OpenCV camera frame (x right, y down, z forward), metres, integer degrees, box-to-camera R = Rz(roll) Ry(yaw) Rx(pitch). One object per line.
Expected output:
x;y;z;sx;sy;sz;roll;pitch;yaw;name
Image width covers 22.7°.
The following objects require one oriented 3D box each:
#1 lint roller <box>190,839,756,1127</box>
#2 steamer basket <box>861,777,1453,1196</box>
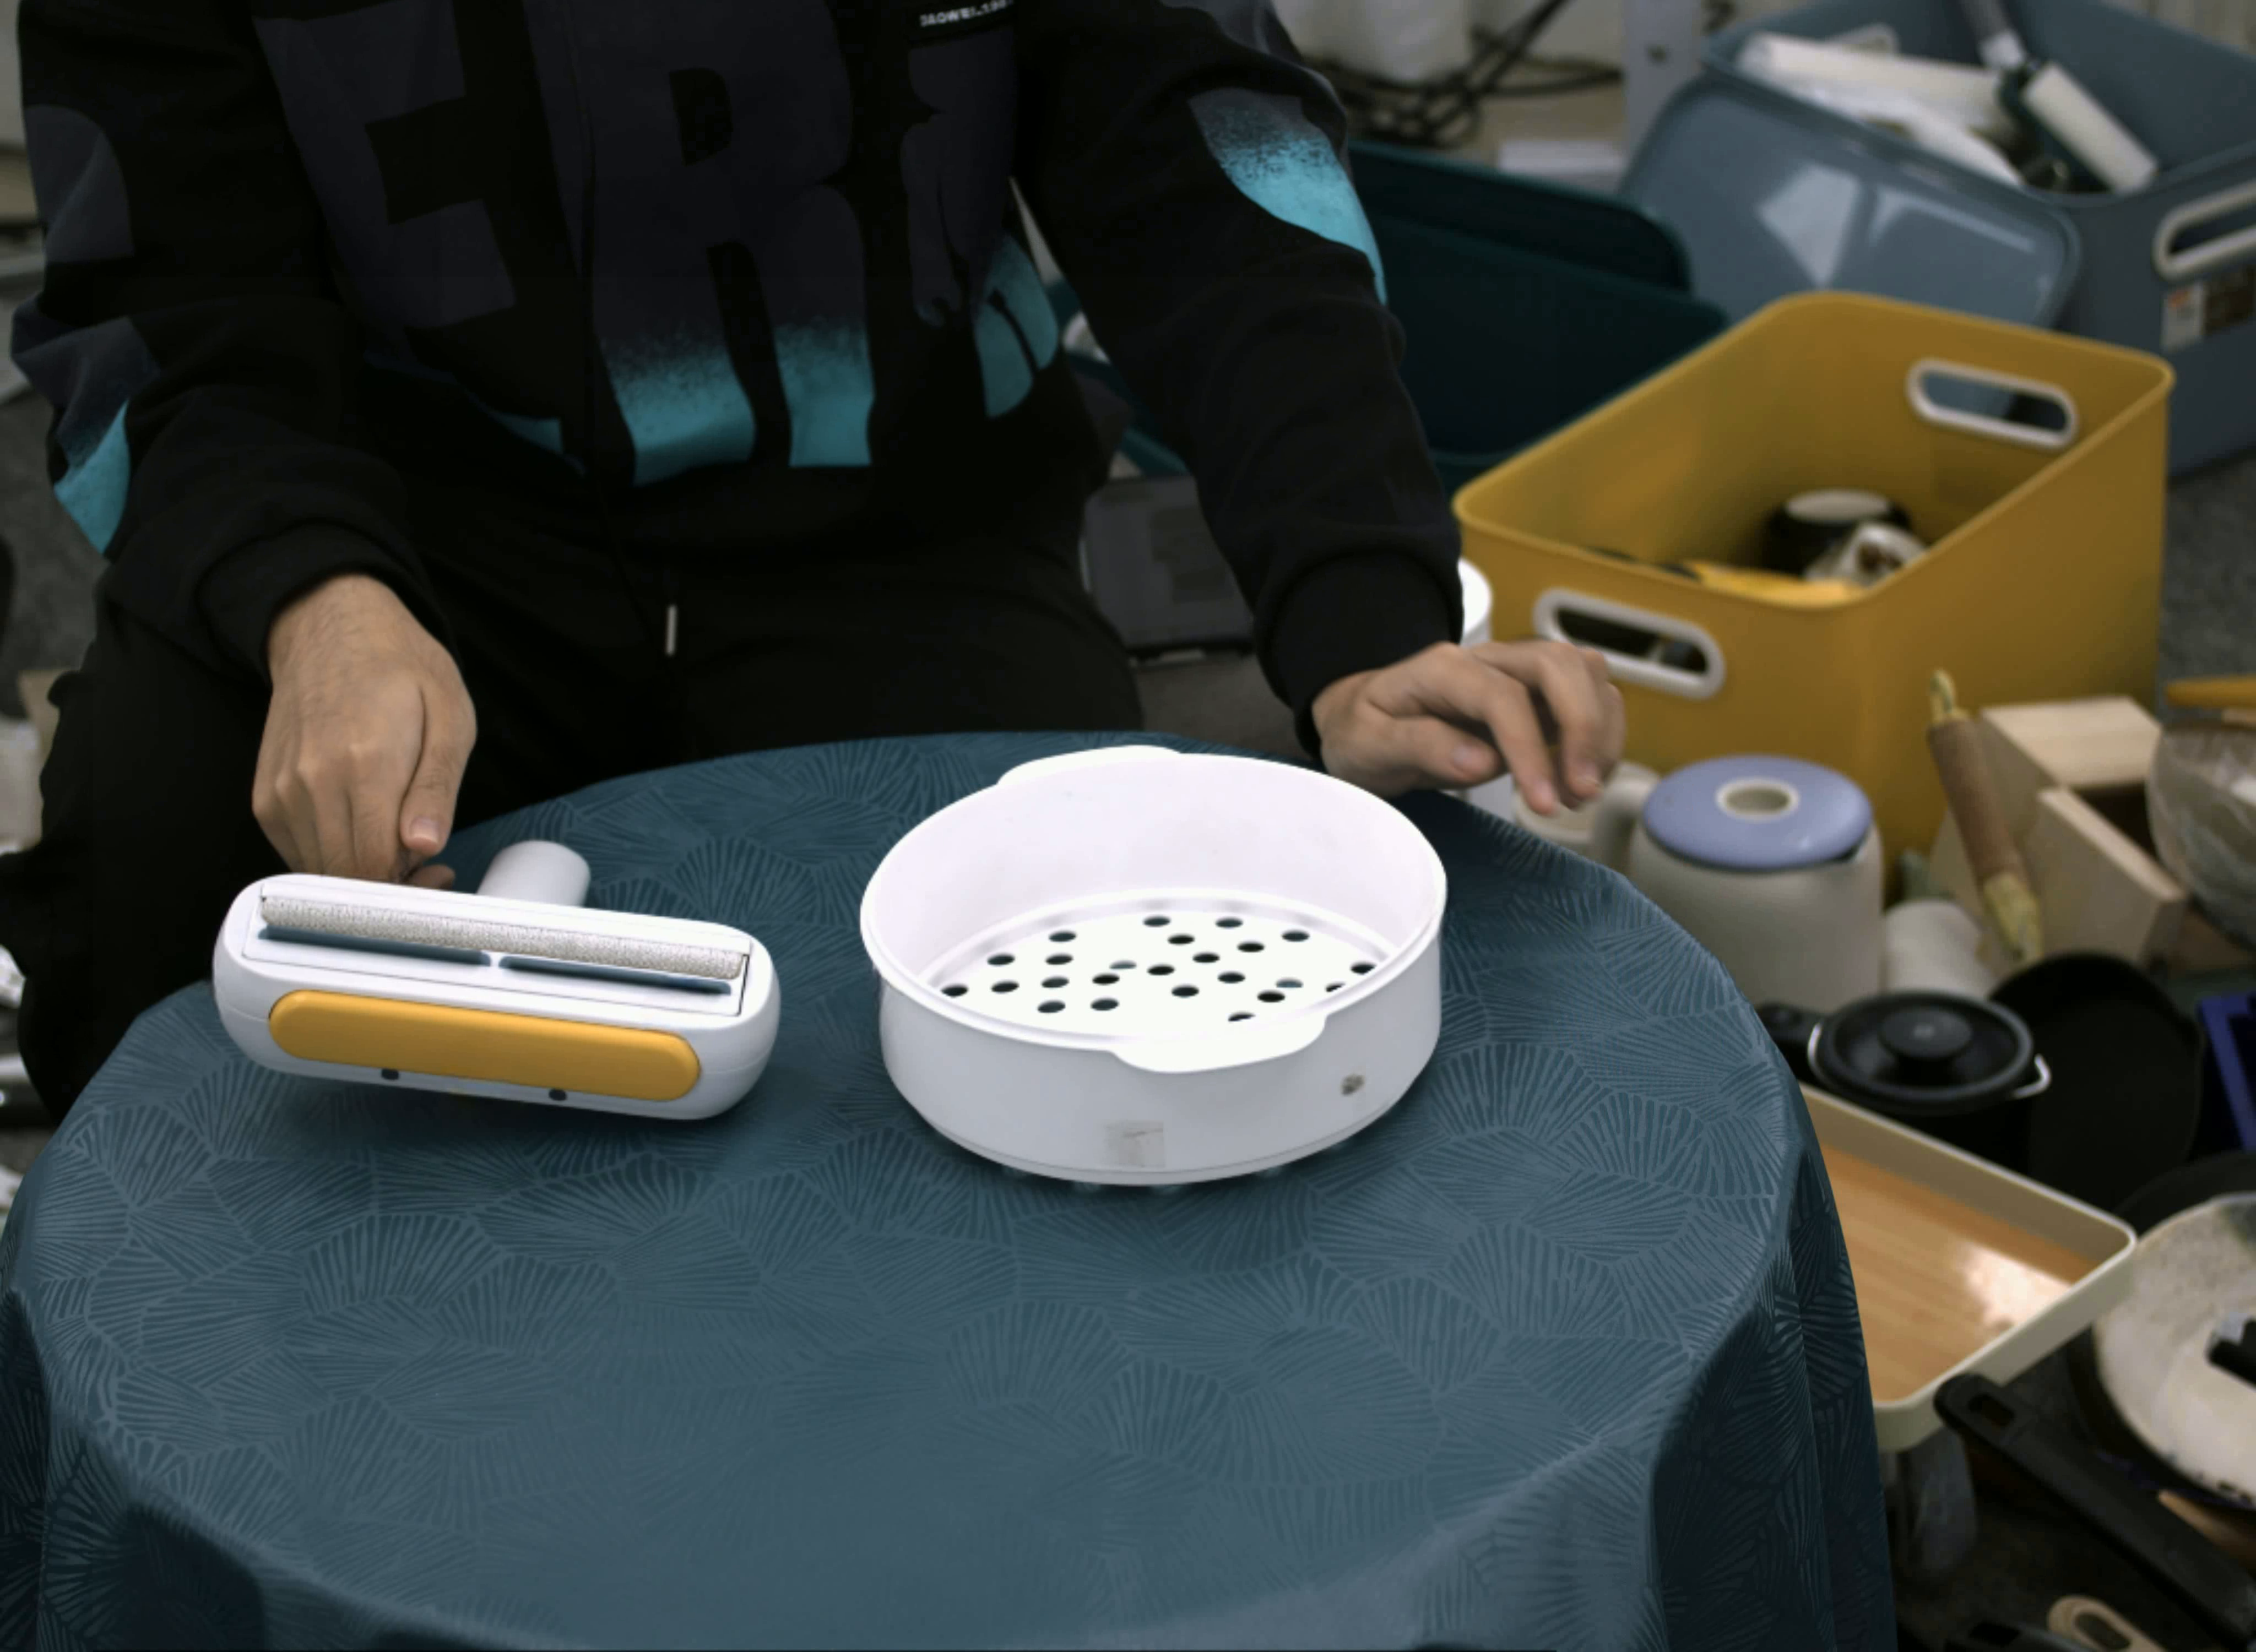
-0.217;0.039;1.968;0.192;0.073;0.195;5;26;3;lint roller
0.011;0.056;1.920;0.202;0.068;0.233;-7;25;-11;steamer basket
